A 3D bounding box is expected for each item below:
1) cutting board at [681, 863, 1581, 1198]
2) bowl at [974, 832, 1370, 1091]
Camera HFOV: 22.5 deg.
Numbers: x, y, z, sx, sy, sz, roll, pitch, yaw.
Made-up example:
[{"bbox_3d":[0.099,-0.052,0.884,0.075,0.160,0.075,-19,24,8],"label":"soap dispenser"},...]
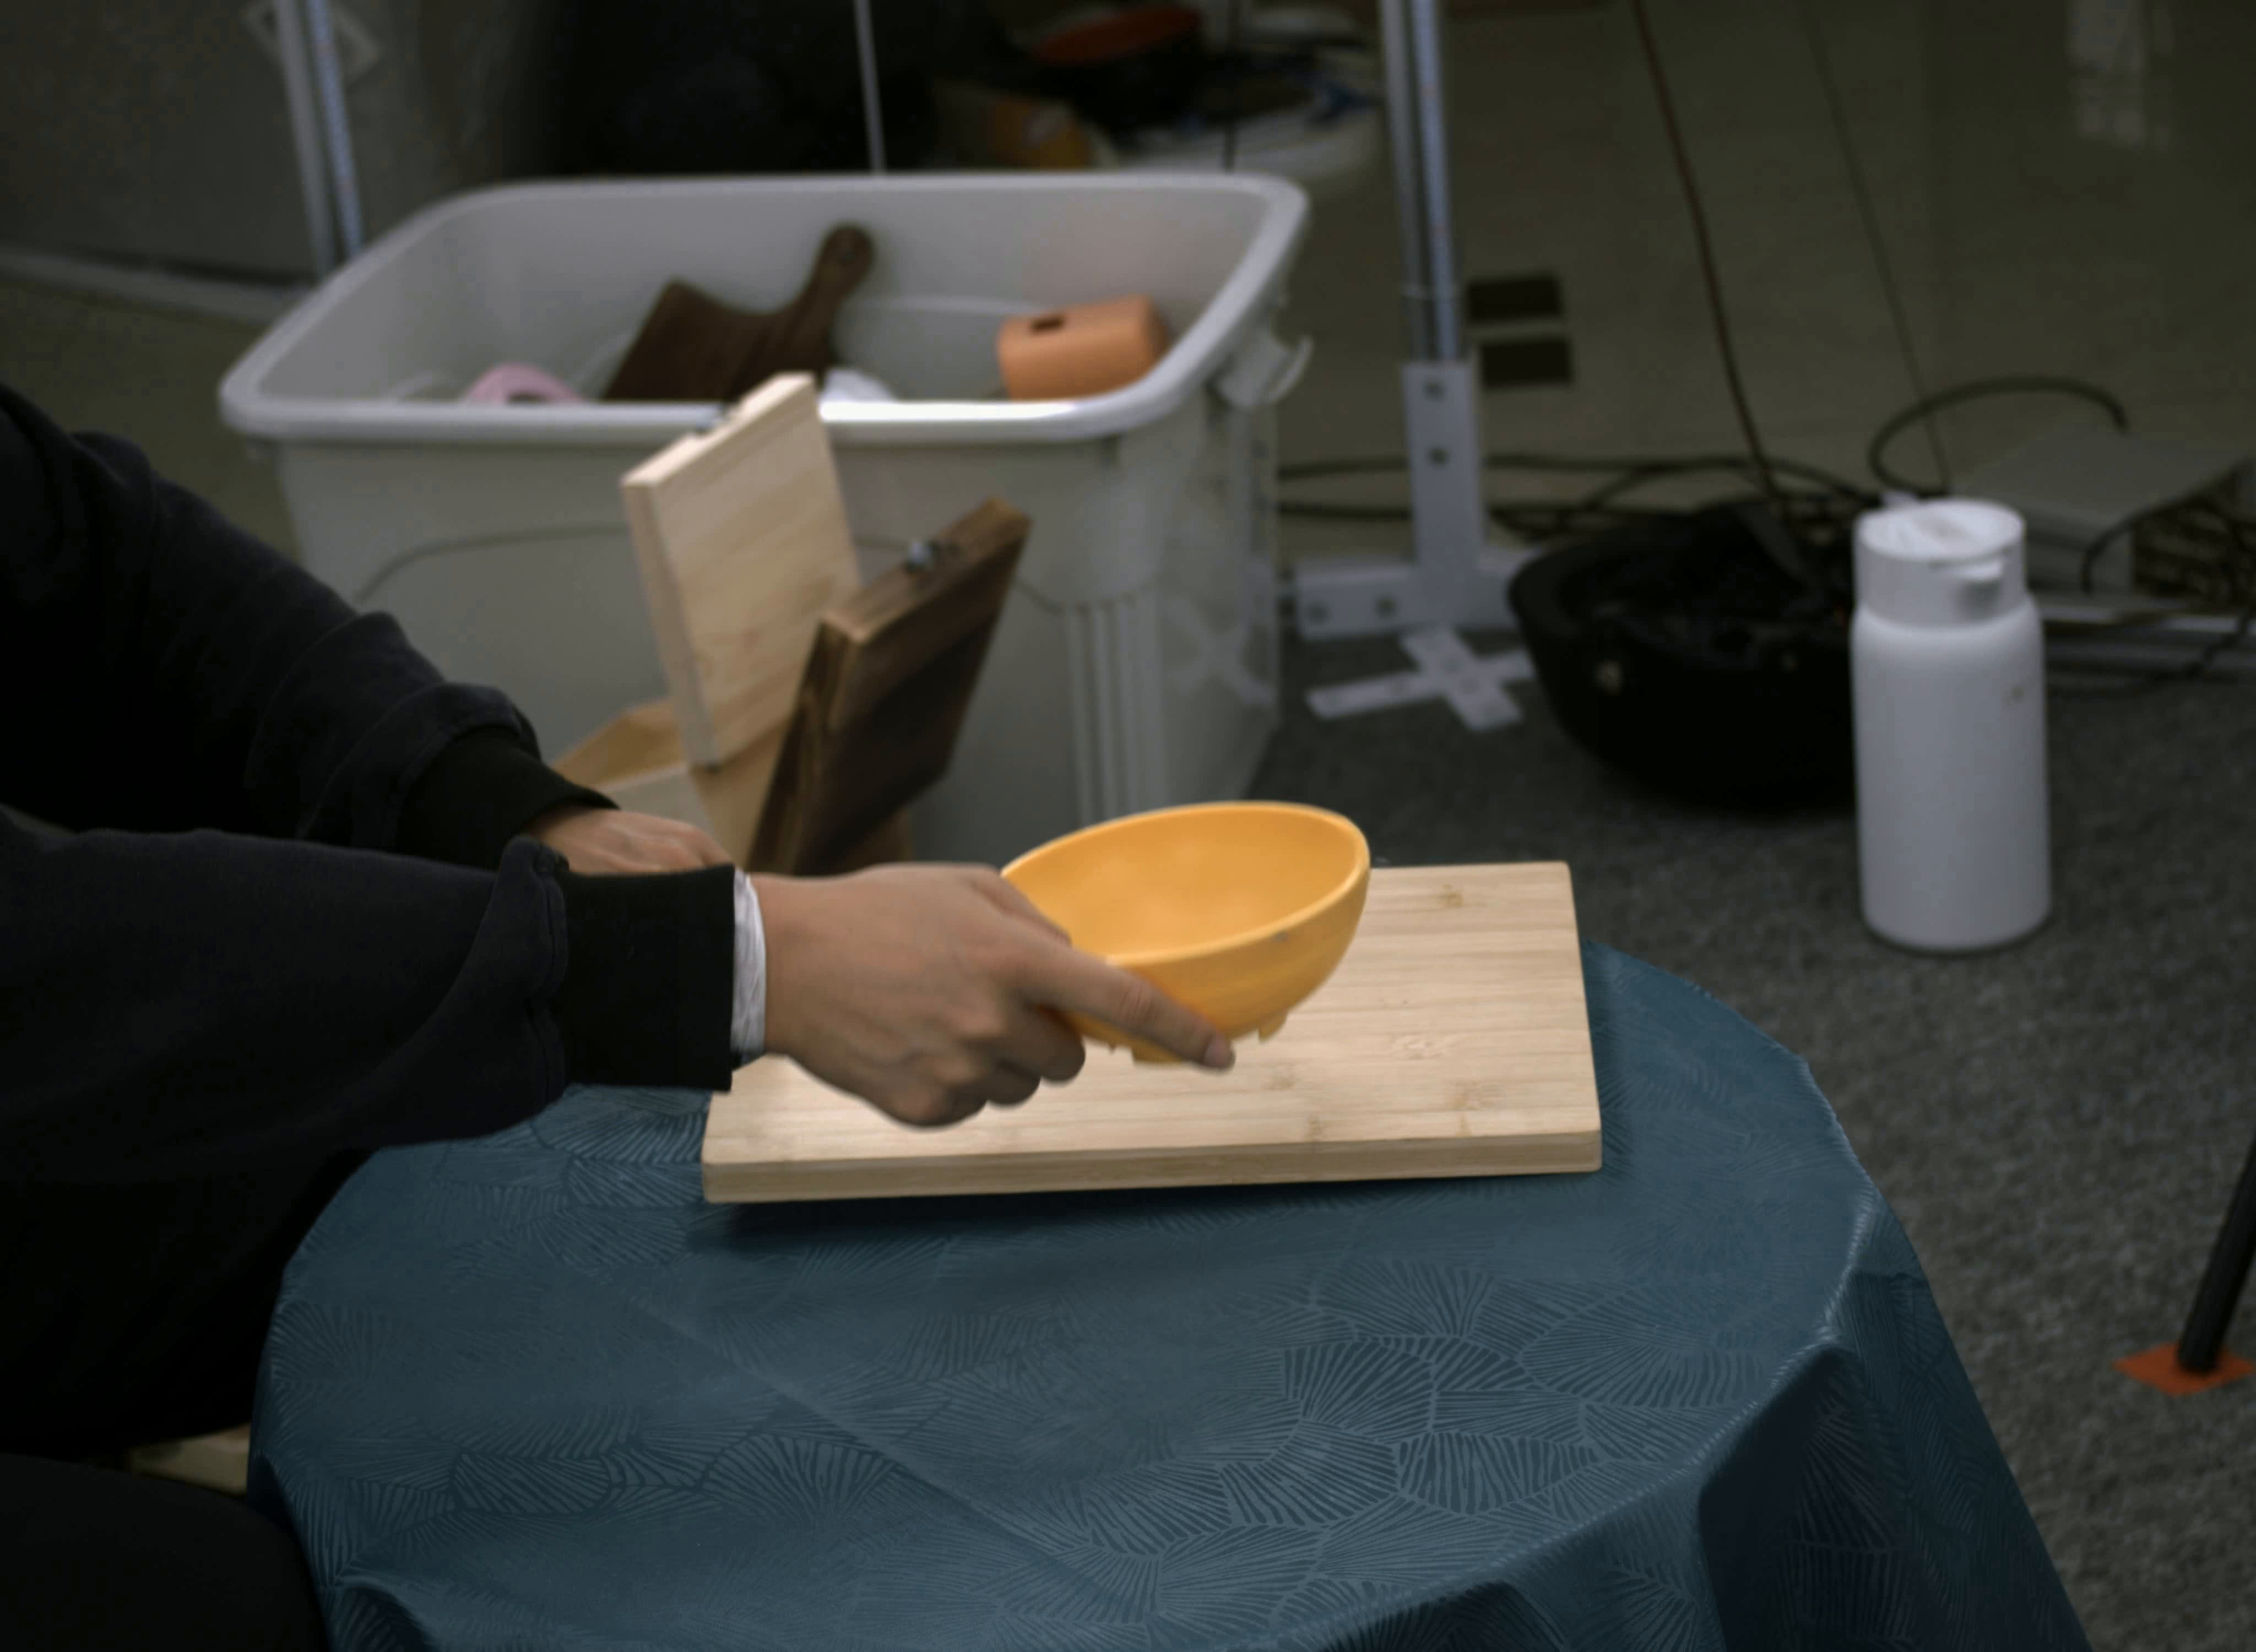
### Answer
[{"bbox_3d":[0.006,0.079,2.239,0.348,0.024,0.247,-2,24,1],"label":"cutting board"},{"bbox_3d":[0.021,0.055,2.022,0.145,0.061,0.143,-11,19,4],"label":"bowl"}]
